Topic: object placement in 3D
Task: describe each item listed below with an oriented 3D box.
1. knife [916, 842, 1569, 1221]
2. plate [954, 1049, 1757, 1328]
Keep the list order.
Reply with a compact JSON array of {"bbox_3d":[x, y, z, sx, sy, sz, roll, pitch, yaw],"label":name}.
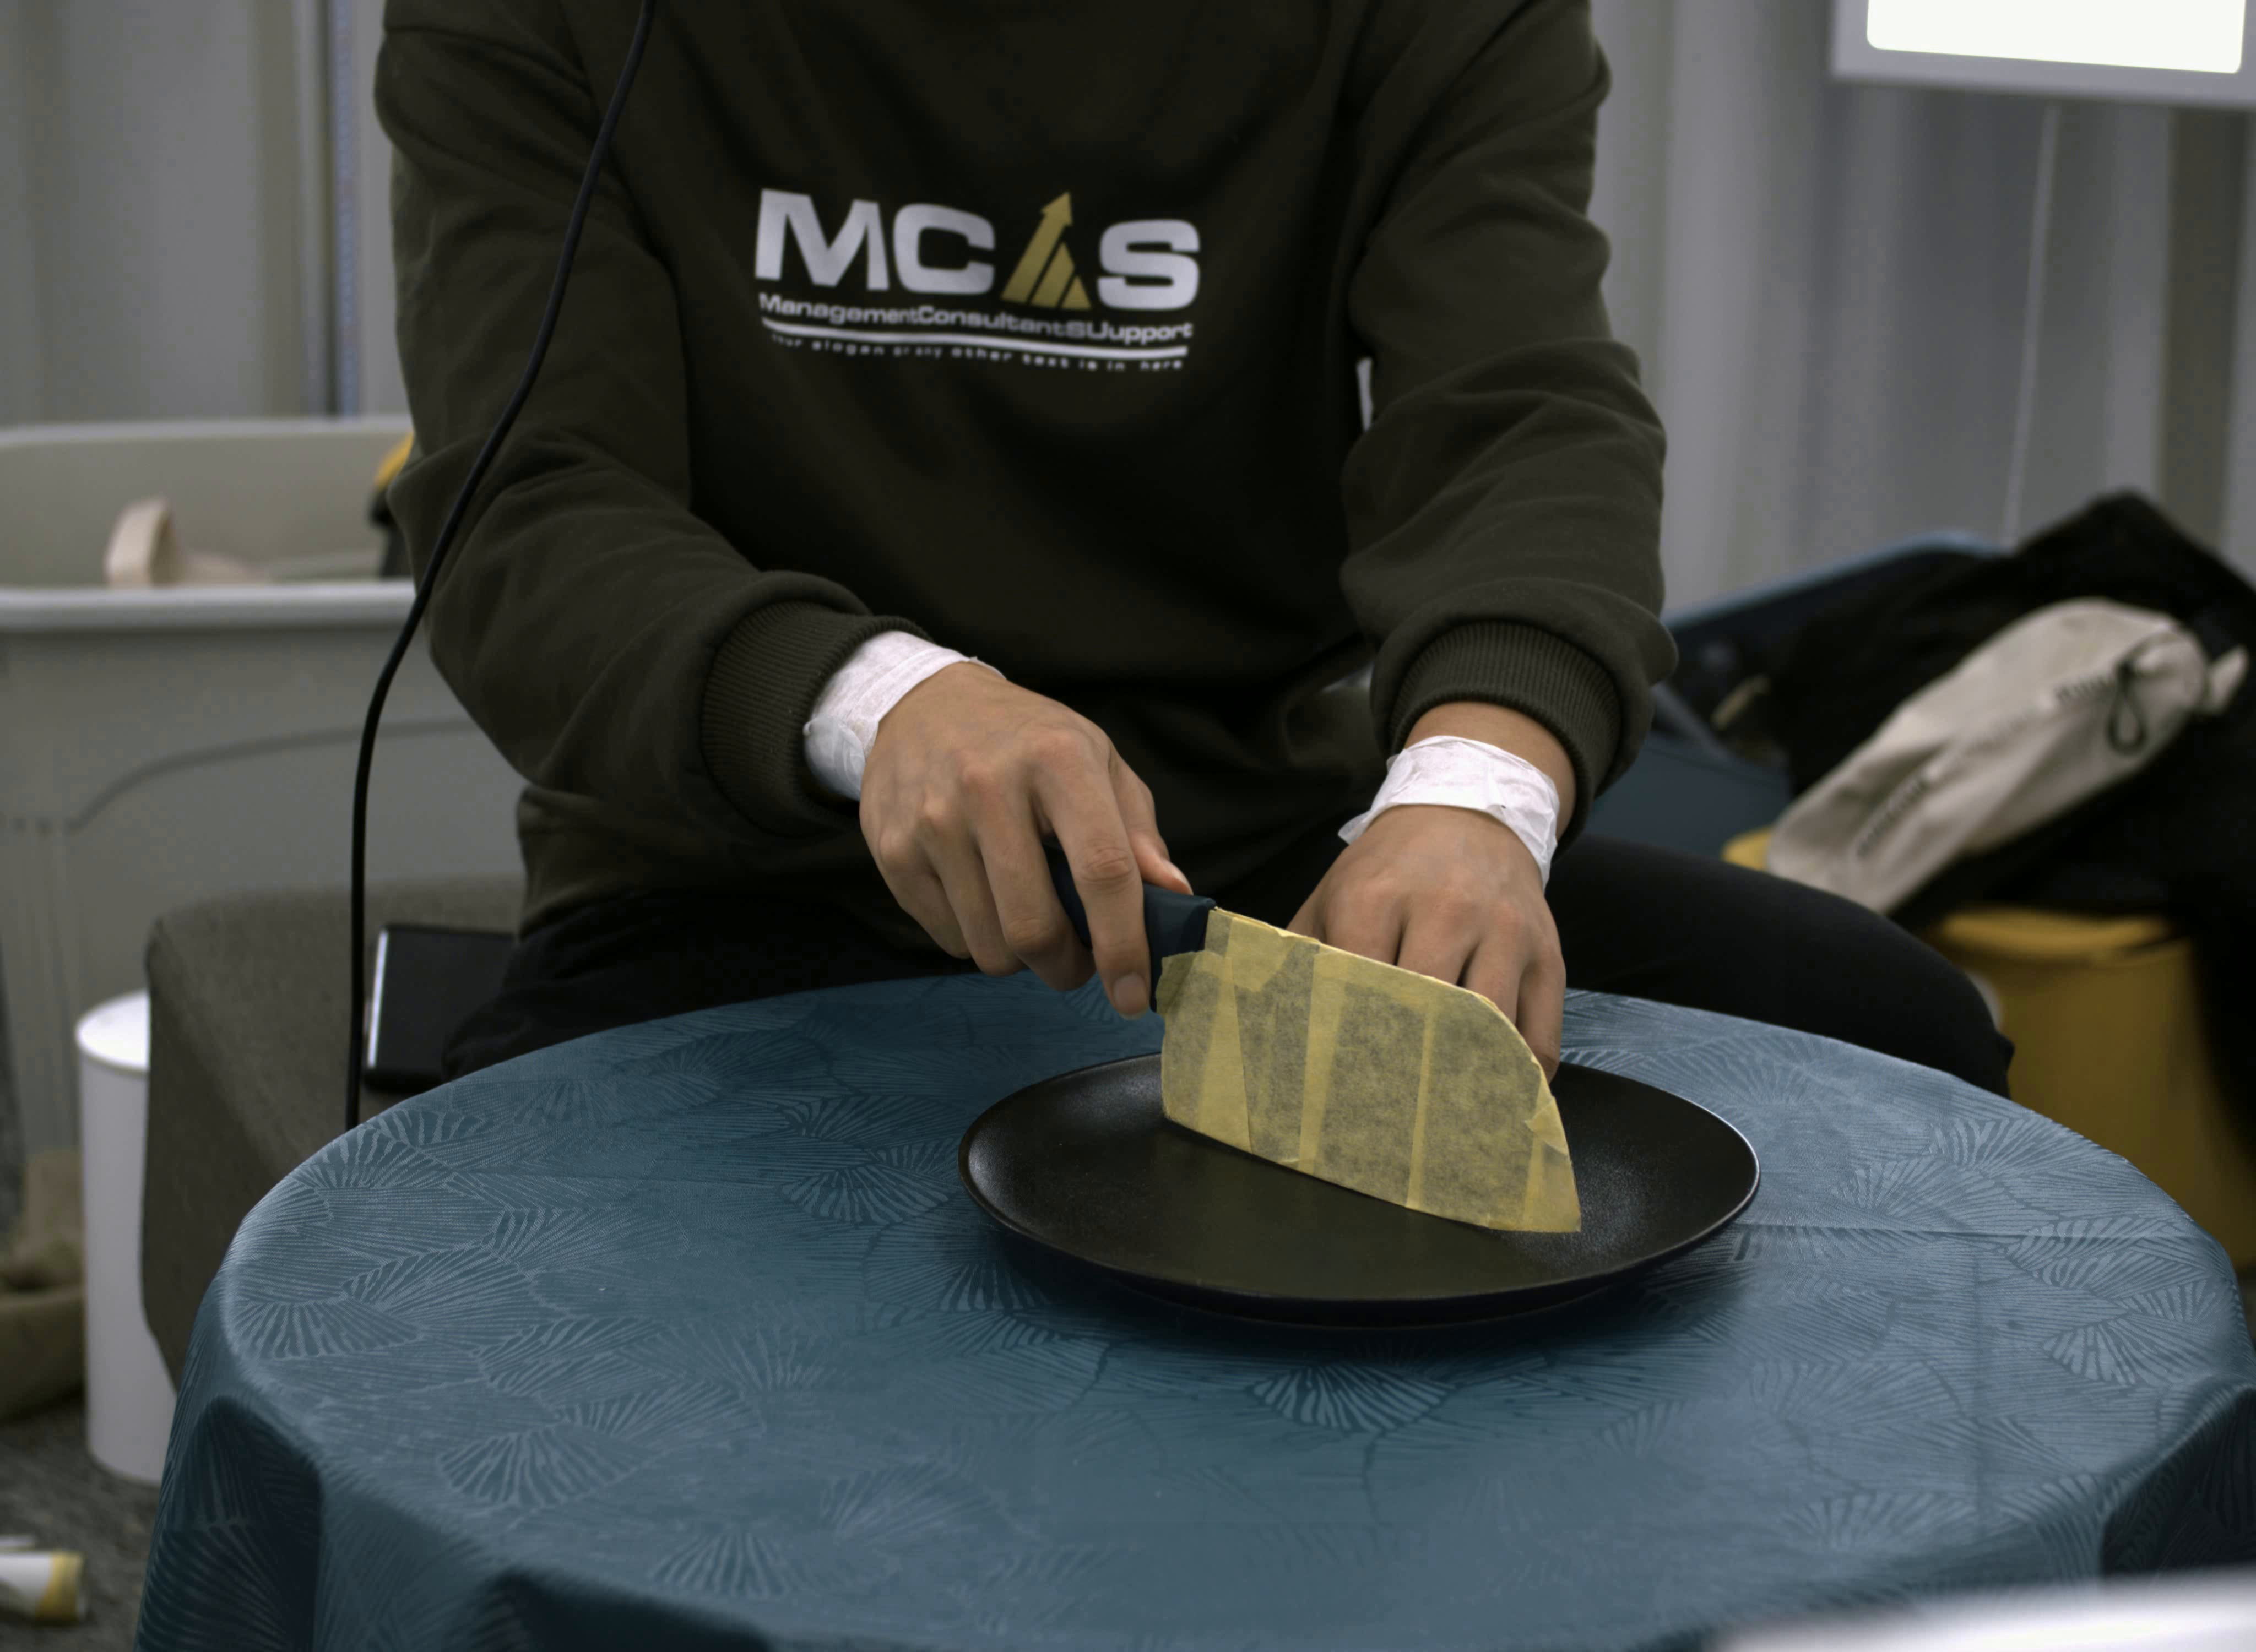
[{"bbox_3d":[0.032,0.060,1.632,0.027,0.081,0.285,-5,19,-44],"label":"knife"},{"bbox_3d":[0.068,0.110,1.592,0.243,0.023,0.243,1,15,0],"label":"plate"}]
